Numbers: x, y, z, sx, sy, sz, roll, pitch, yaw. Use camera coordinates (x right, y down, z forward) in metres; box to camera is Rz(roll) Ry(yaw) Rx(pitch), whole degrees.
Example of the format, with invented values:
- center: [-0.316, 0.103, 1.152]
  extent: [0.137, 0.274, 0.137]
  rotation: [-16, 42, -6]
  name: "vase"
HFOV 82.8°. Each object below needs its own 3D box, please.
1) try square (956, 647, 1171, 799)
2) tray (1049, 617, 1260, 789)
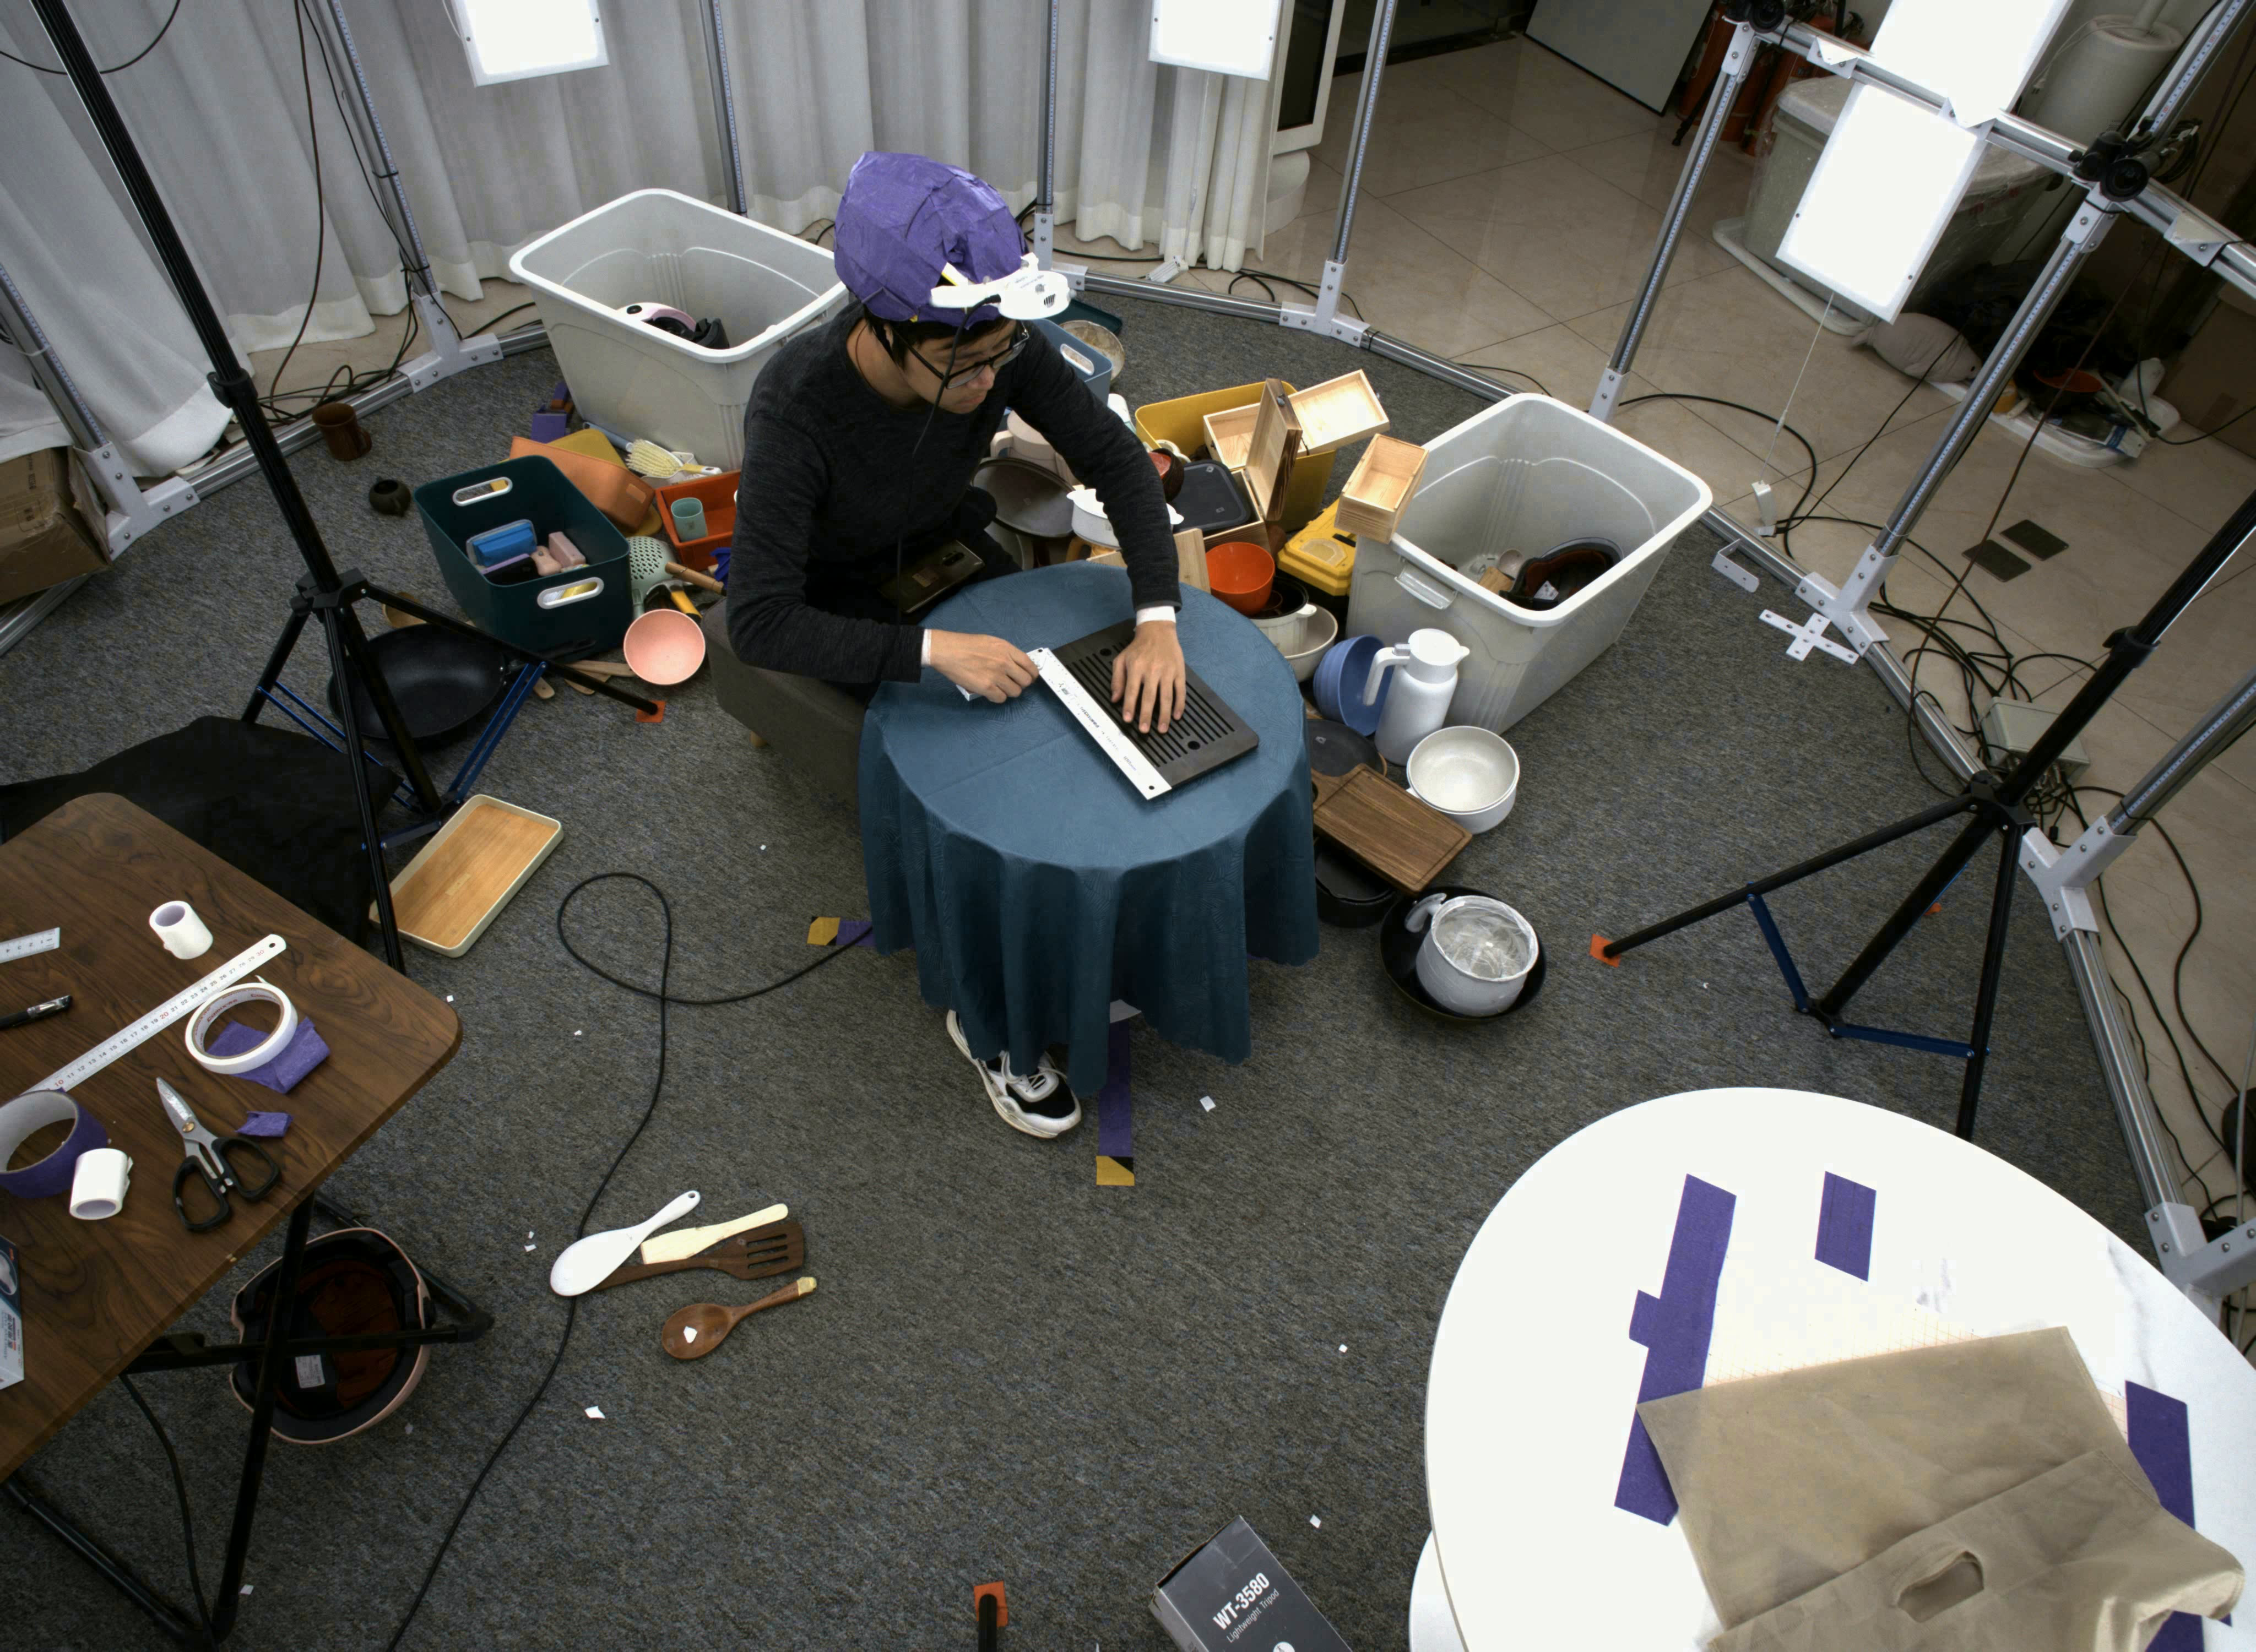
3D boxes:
- center: [-0.091, -0.128, 1.742]
  extent: [0.153, 0.015, 0.319]
  rotation: [-23, 55, -26]
  name: "try square"
- center: [0.033, -0.178, 1.815]
  extent: [0.171, 0.018, 0.312]
  rotation: [-26, 55, -23]
  name: "tray"
